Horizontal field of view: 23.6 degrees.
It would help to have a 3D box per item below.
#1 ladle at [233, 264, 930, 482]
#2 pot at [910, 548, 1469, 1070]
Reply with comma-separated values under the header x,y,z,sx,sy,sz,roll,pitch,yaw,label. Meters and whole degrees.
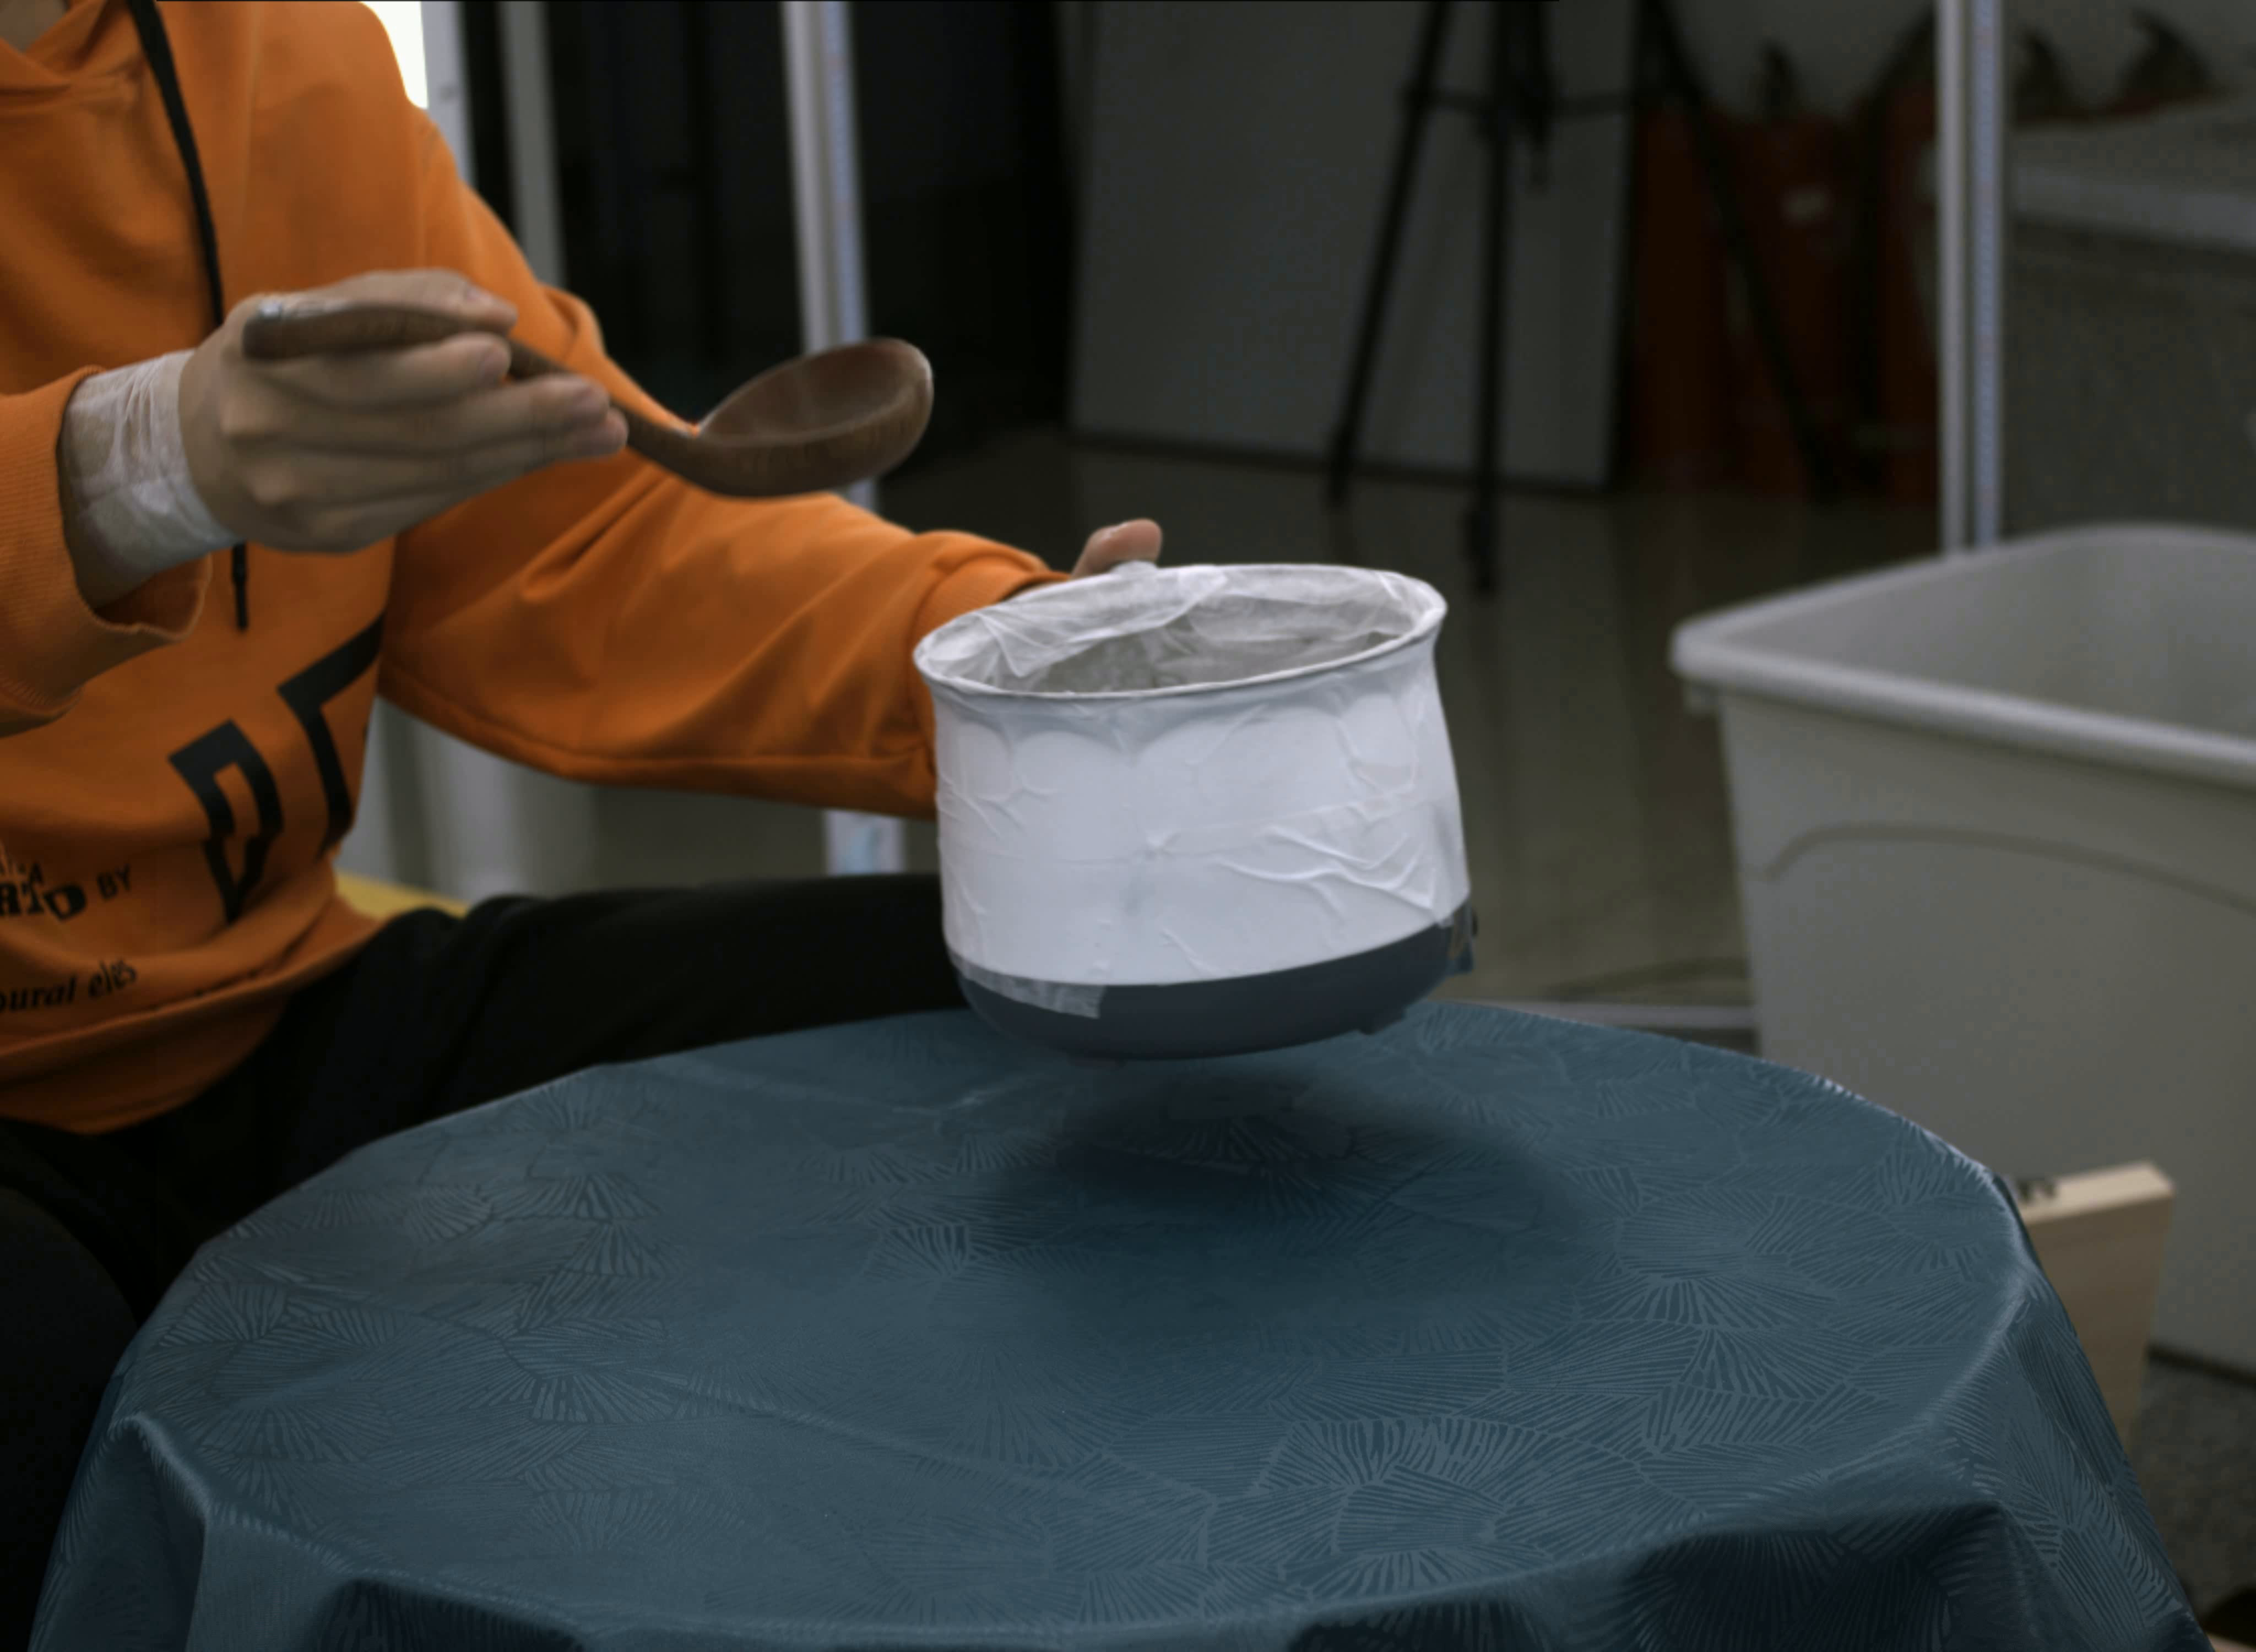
x,y,z,sx,sy,sz,roll,pitch,yaw,label
-0.160,-0.150,1.612,0.077,0.066,0.255,-3,-13,42,ladle
0.017,-0.012,1.805,0.176,0.138,0.235,-8,14,-8,pot
